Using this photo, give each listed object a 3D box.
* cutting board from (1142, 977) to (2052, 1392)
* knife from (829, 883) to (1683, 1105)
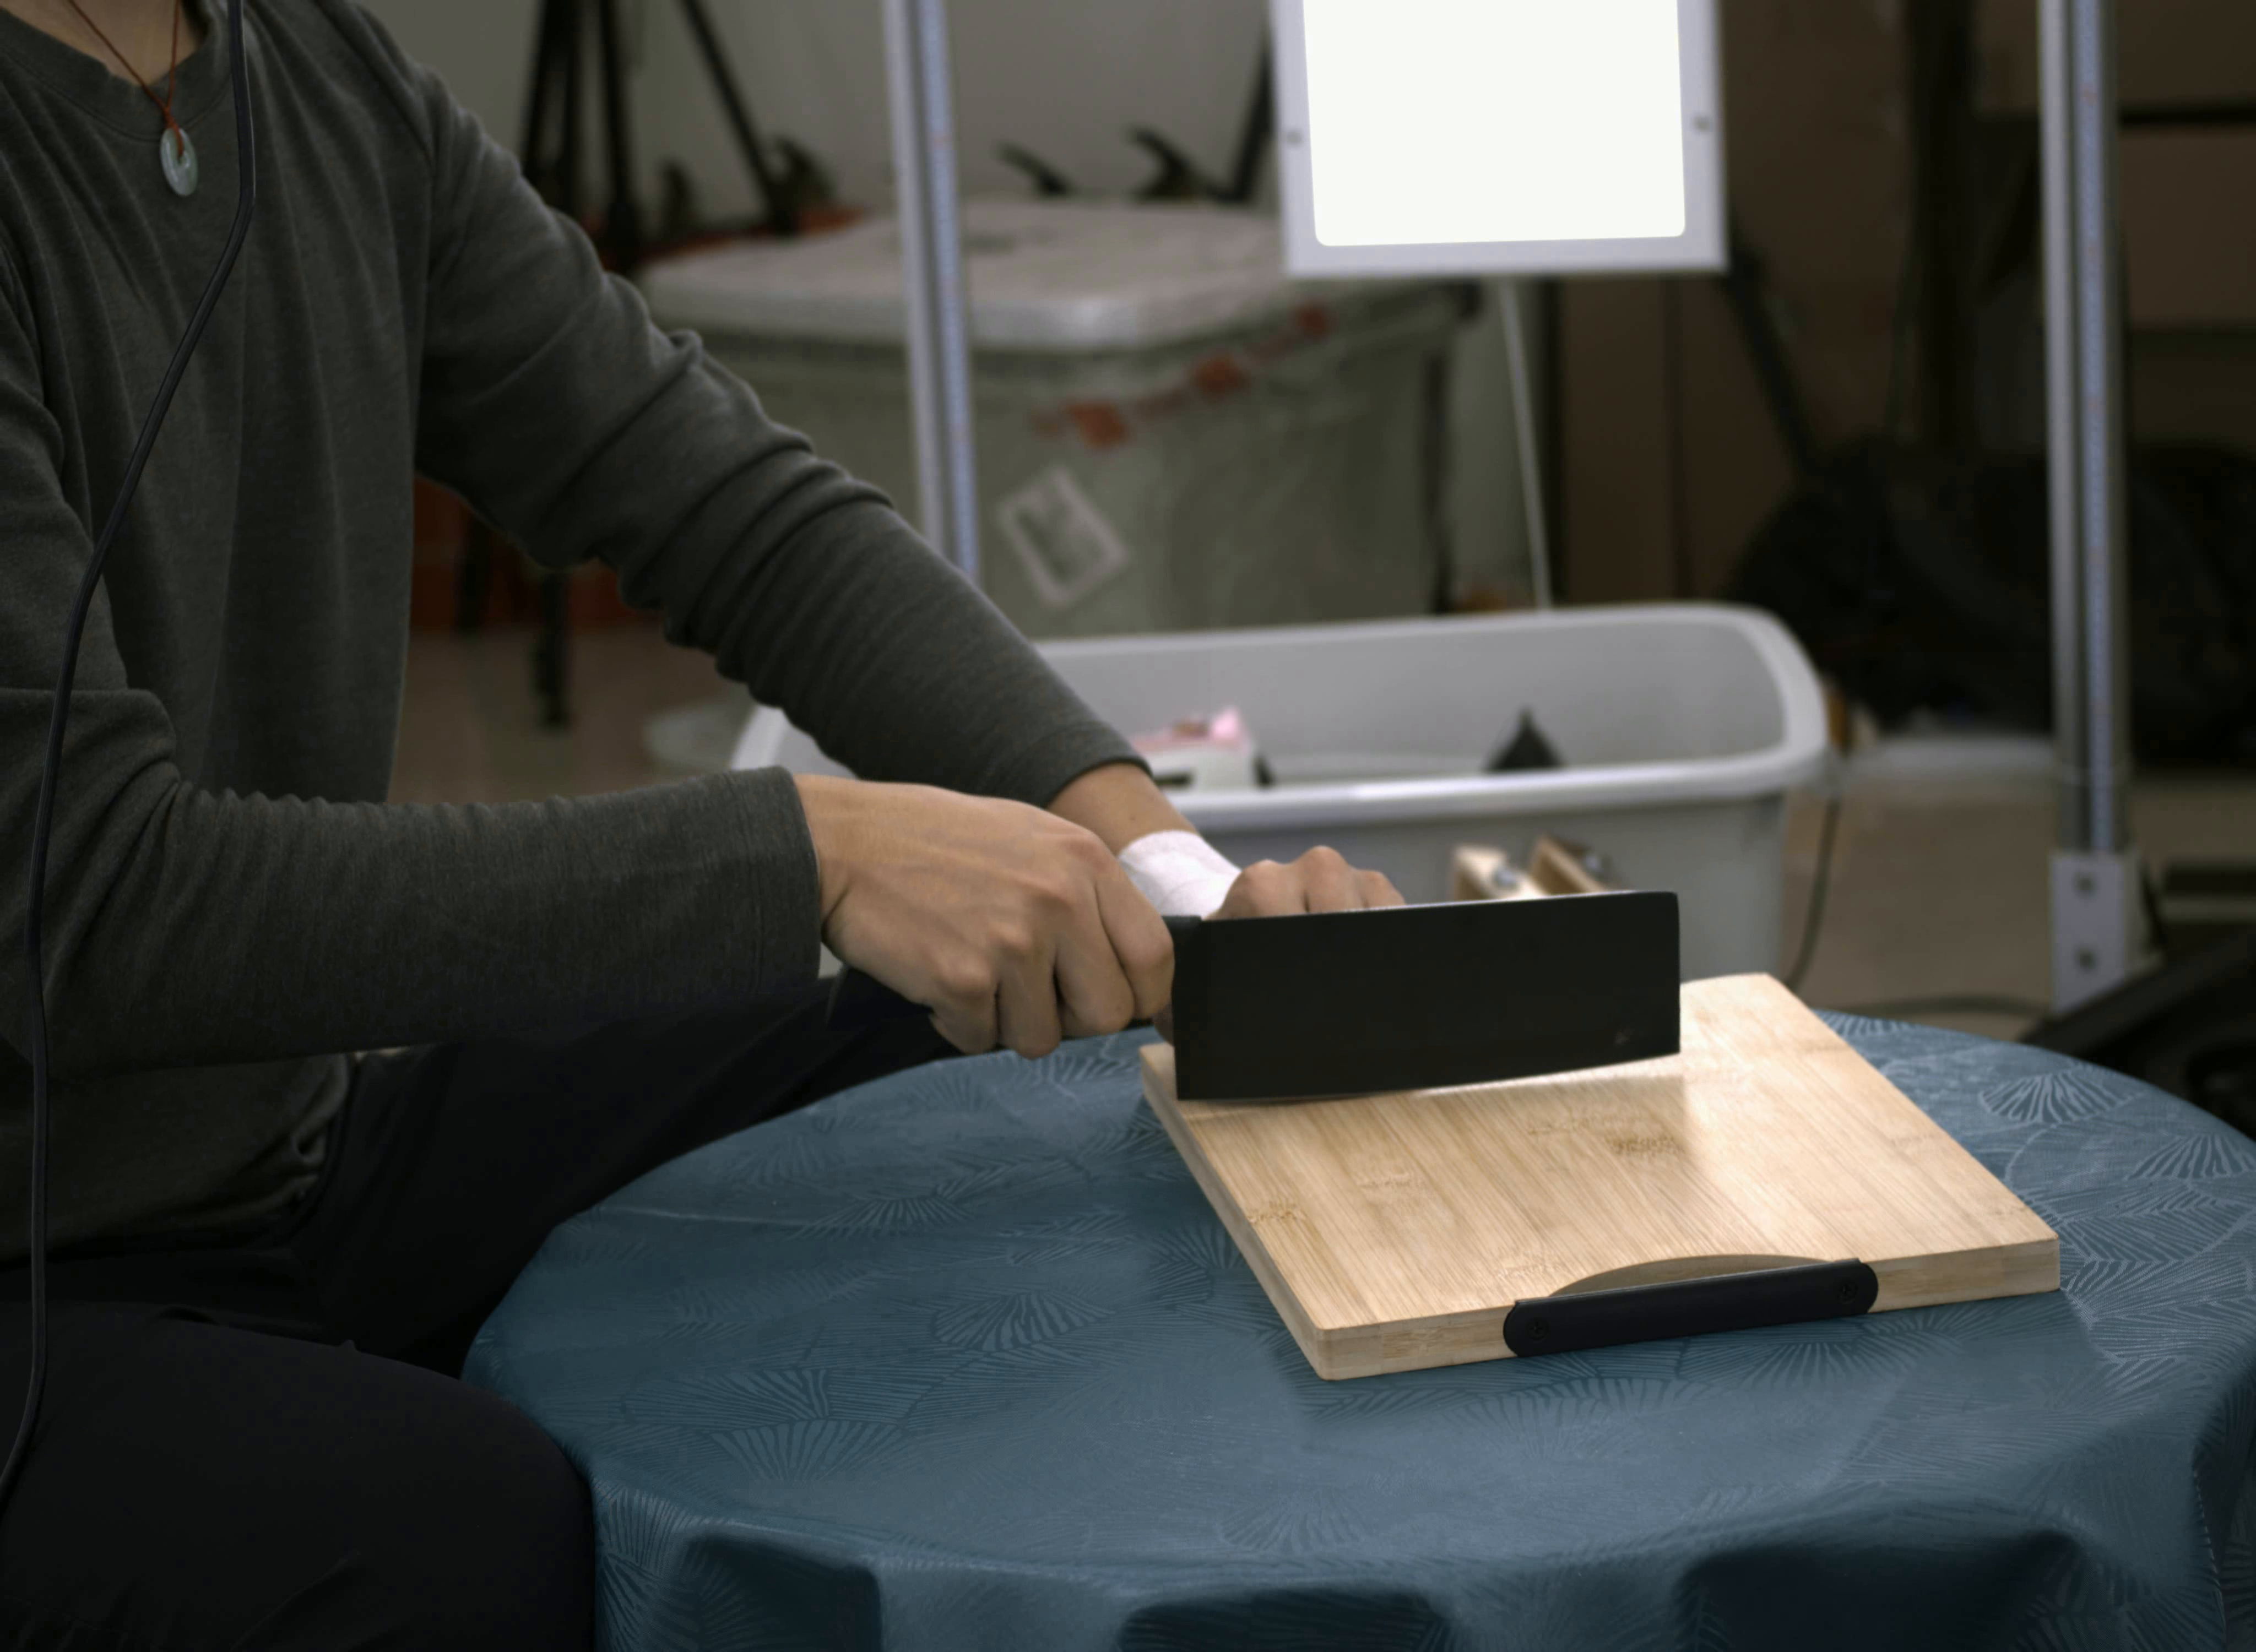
[{"bbox_3d":[0.150,0.115,1.863,0.248,0.023,0.350,-8,14,-7],"label":"cutting board"},{"bbox_3d":[0.047,0.059,1.916,0.300,0.081,0.021,0,11,-4],"label":"knife"}]
